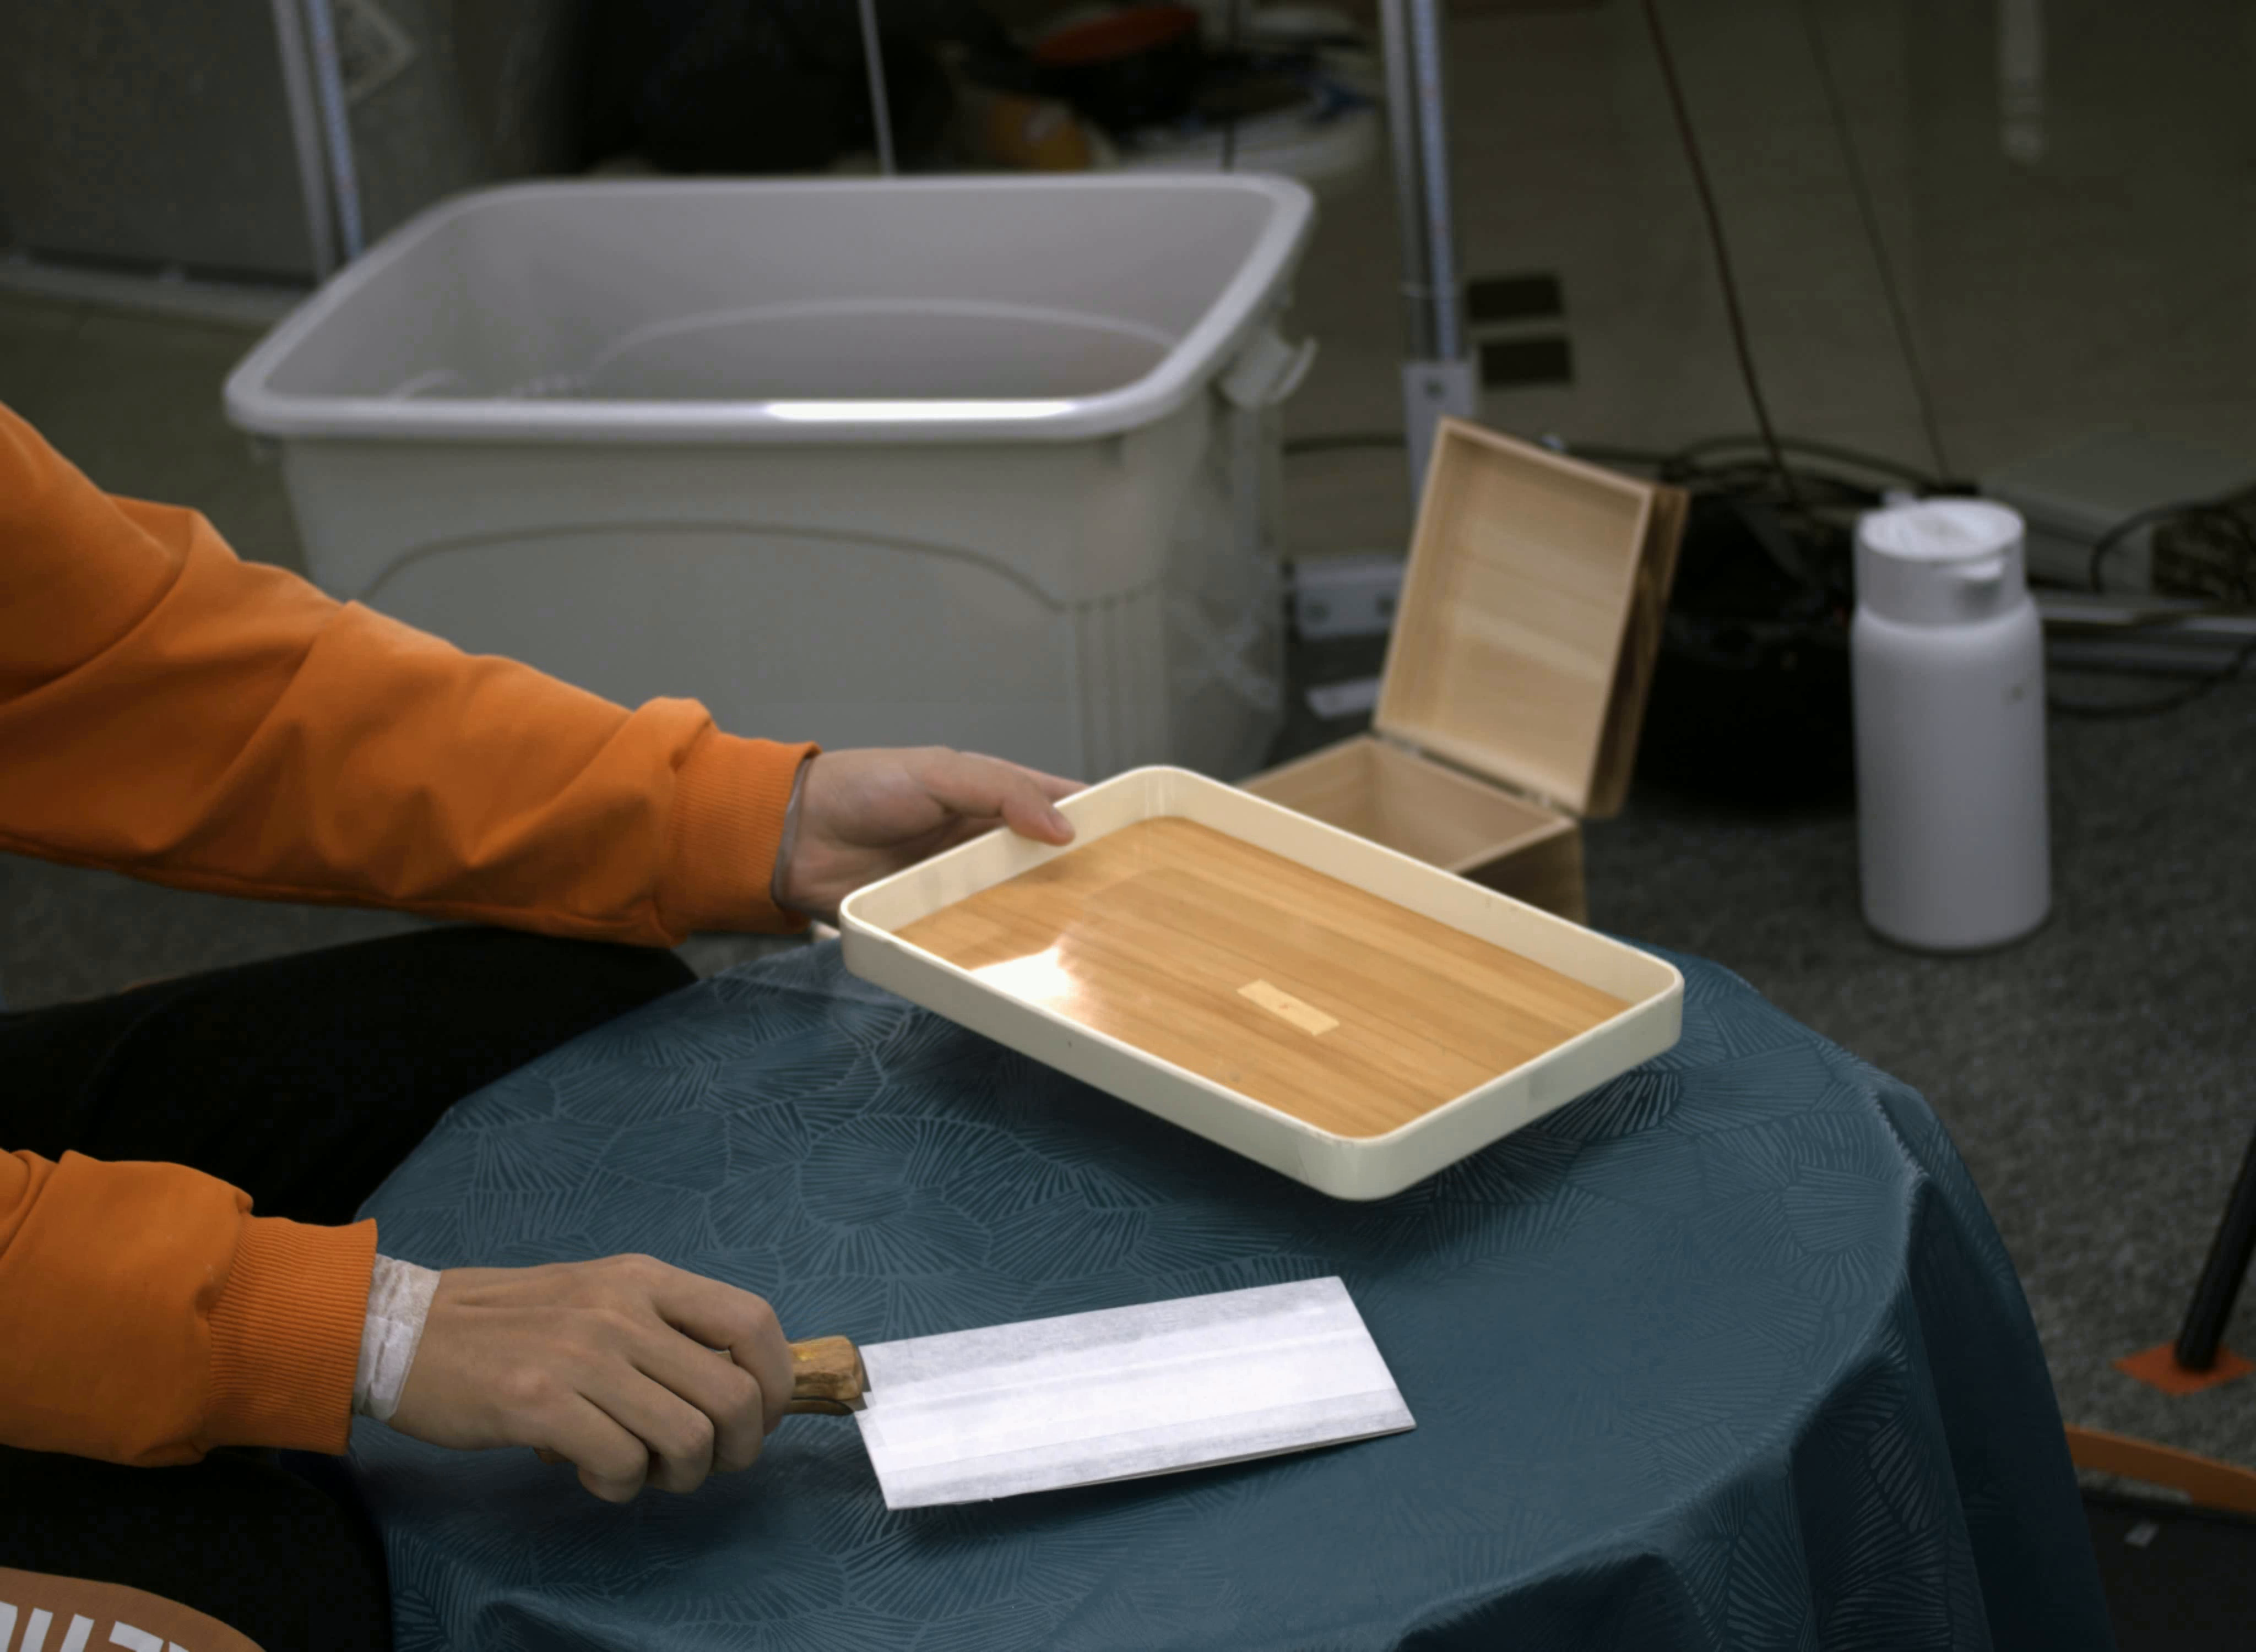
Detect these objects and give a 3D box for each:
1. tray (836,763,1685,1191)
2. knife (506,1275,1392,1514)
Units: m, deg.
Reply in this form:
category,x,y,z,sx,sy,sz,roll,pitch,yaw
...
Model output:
category,x,y,z,sx,sy,sz,roll,pitch,yaw
tray,0.048,0.054,2.202,0.190,0.028,0.297,-24,33,-38
knife,-0.059,0.203,1.970,0.305,0.021,0.091,-7,36,-14
